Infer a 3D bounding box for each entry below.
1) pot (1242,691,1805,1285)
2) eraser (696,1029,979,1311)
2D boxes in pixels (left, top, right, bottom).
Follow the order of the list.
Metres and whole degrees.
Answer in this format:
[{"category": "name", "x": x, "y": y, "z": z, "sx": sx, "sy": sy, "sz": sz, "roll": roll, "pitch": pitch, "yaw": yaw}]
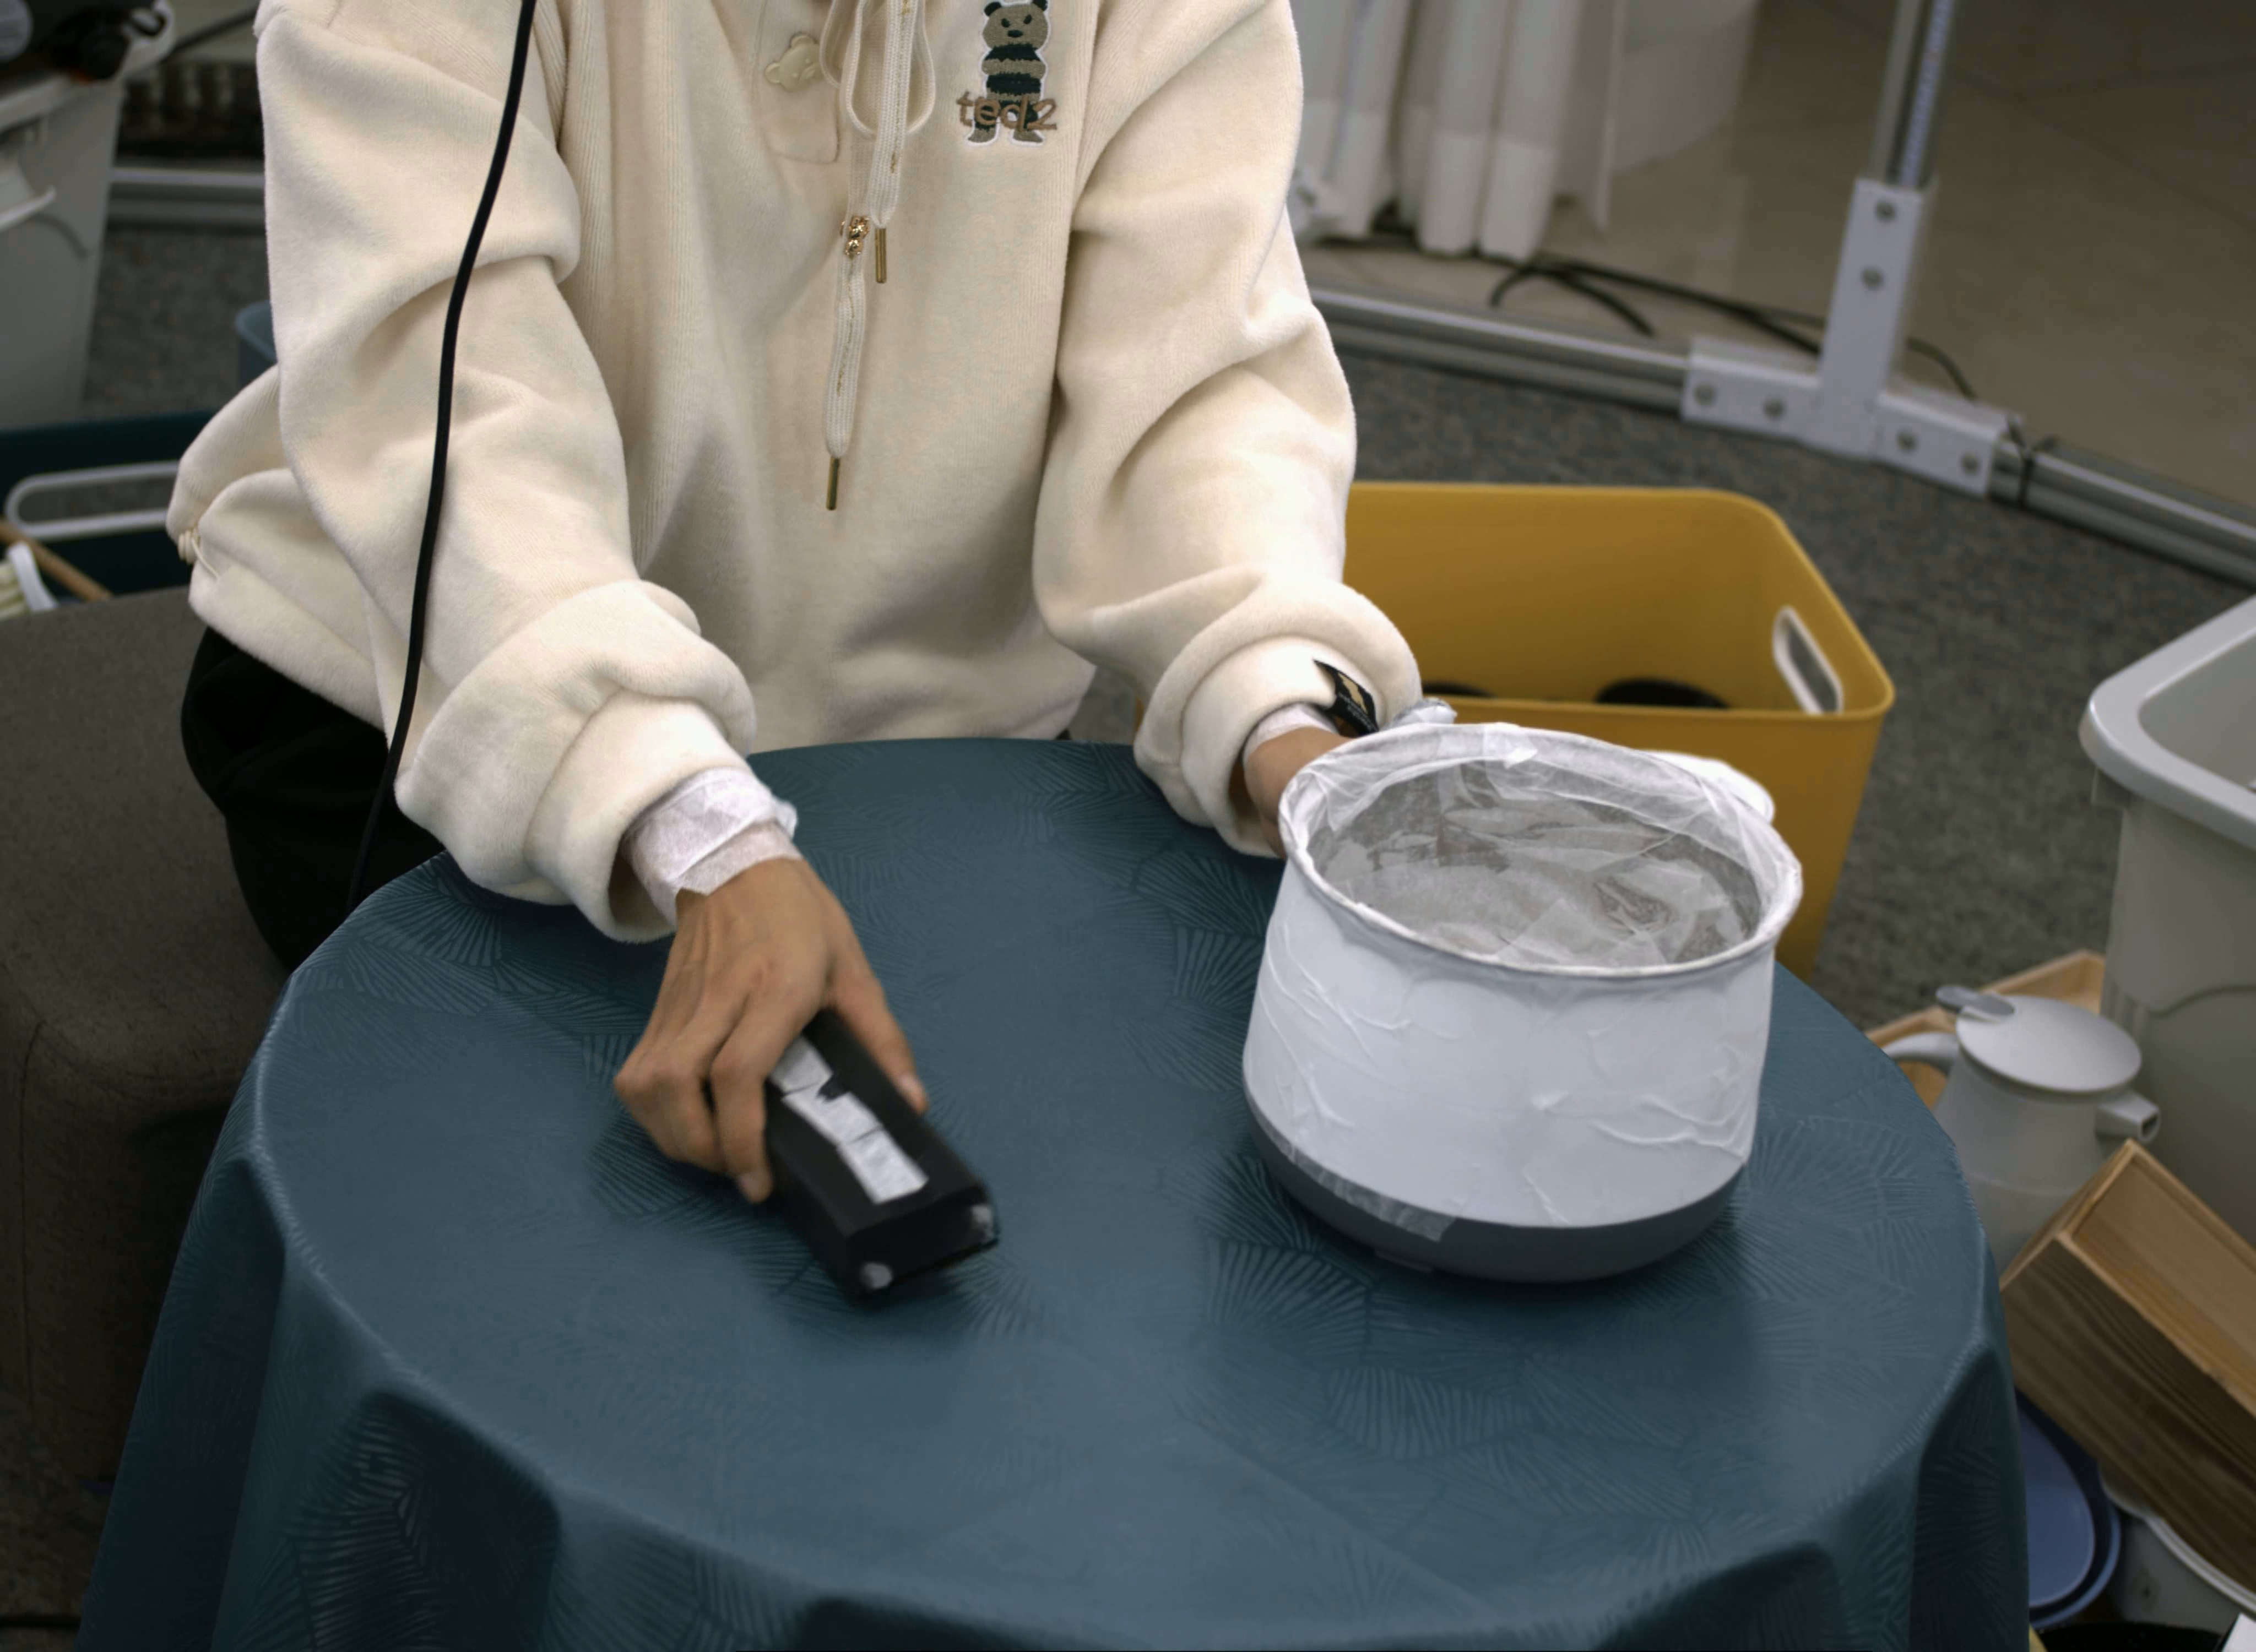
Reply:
[{"category": "pot", "x": 0.121, "y": 0.048, "z": 1.823, "sx": 0.177, "sy": 0.136, "sz": 0.236, "roll": -4, "pitch": 30, "yaw": -21}, {"category": "eraser", "x": -0.096, "y": 0.112, "z": 1.758, "sx": 0.053, "sy": 0.030, "sz": 0.126, "roll": -17, "pitch": 33, "yaw": -18}]
